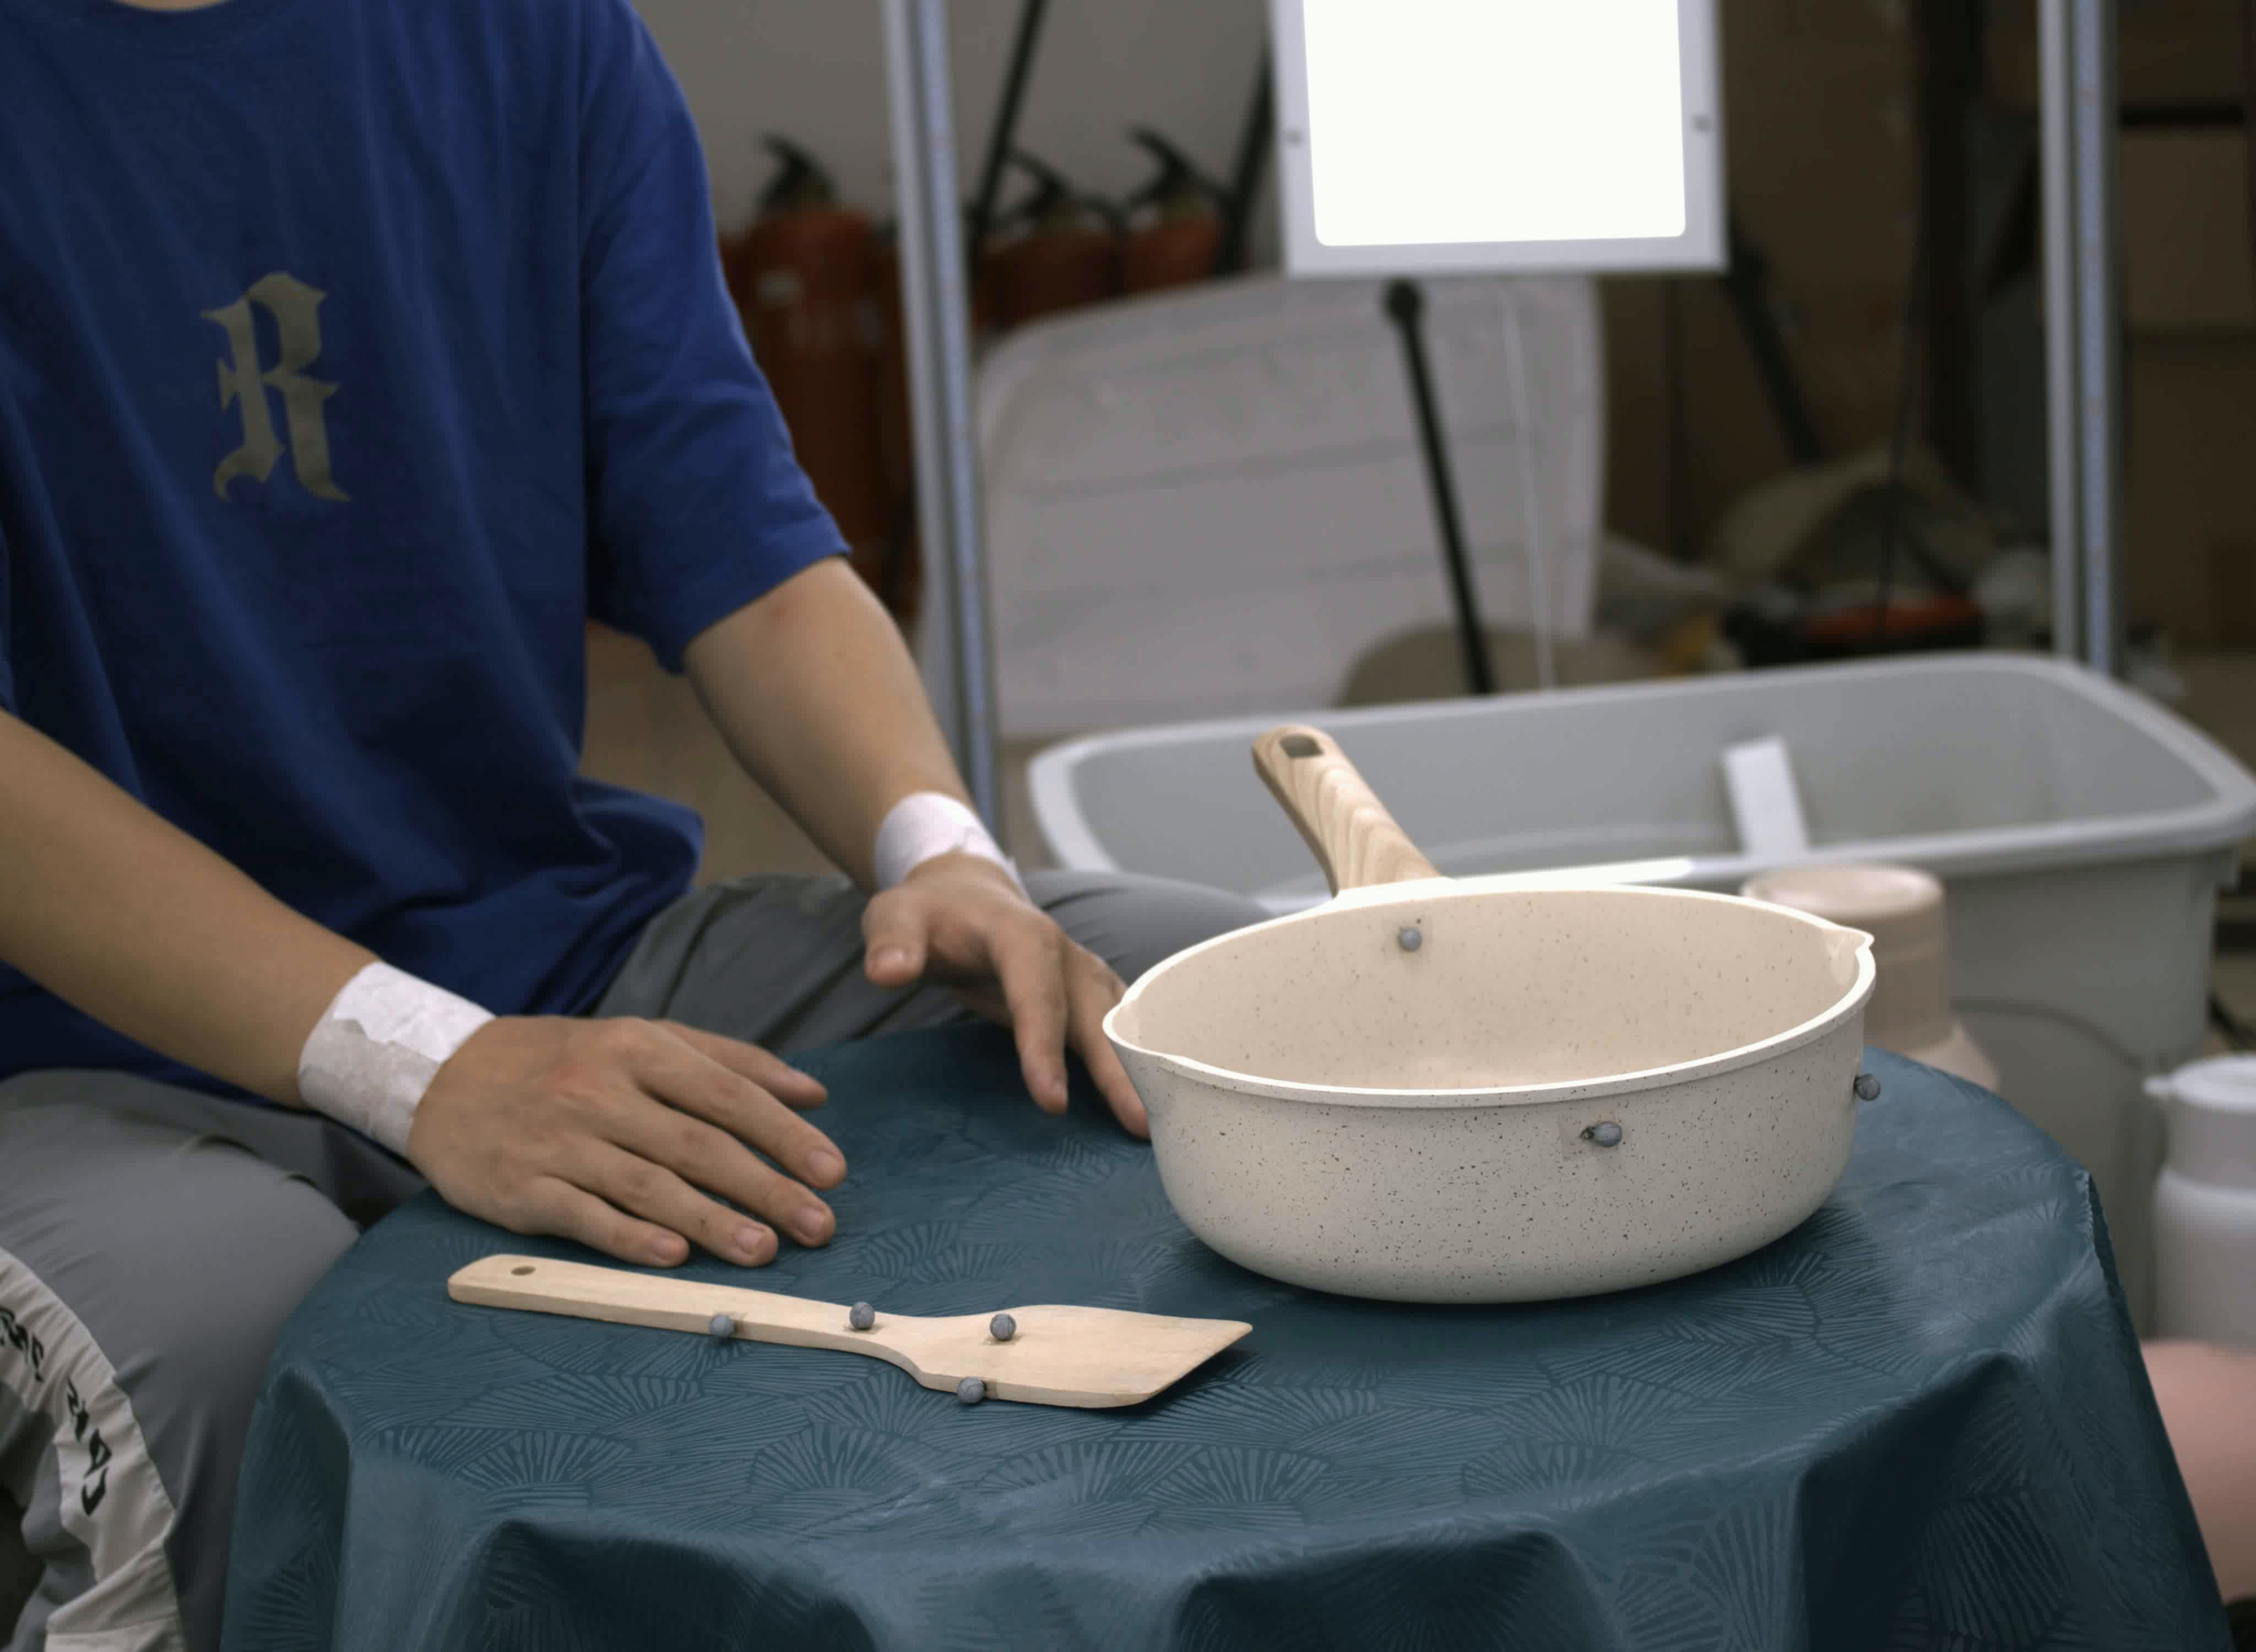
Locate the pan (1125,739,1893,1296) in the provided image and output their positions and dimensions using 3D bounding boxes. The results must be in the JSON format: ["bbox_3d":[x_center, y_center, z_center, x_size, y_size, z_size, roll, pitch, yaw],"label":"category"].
[{"bbox_3d":[0.110,0.061,1.912,0.260,0.102,0.438,-9,14,-10],"label":"pan"}]

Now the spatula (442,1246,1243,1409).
[{"bbox_3d":[-0.103,0.159,1.781,0.299,0.011,0.070,4,18,33],"label":"spatula"}]
